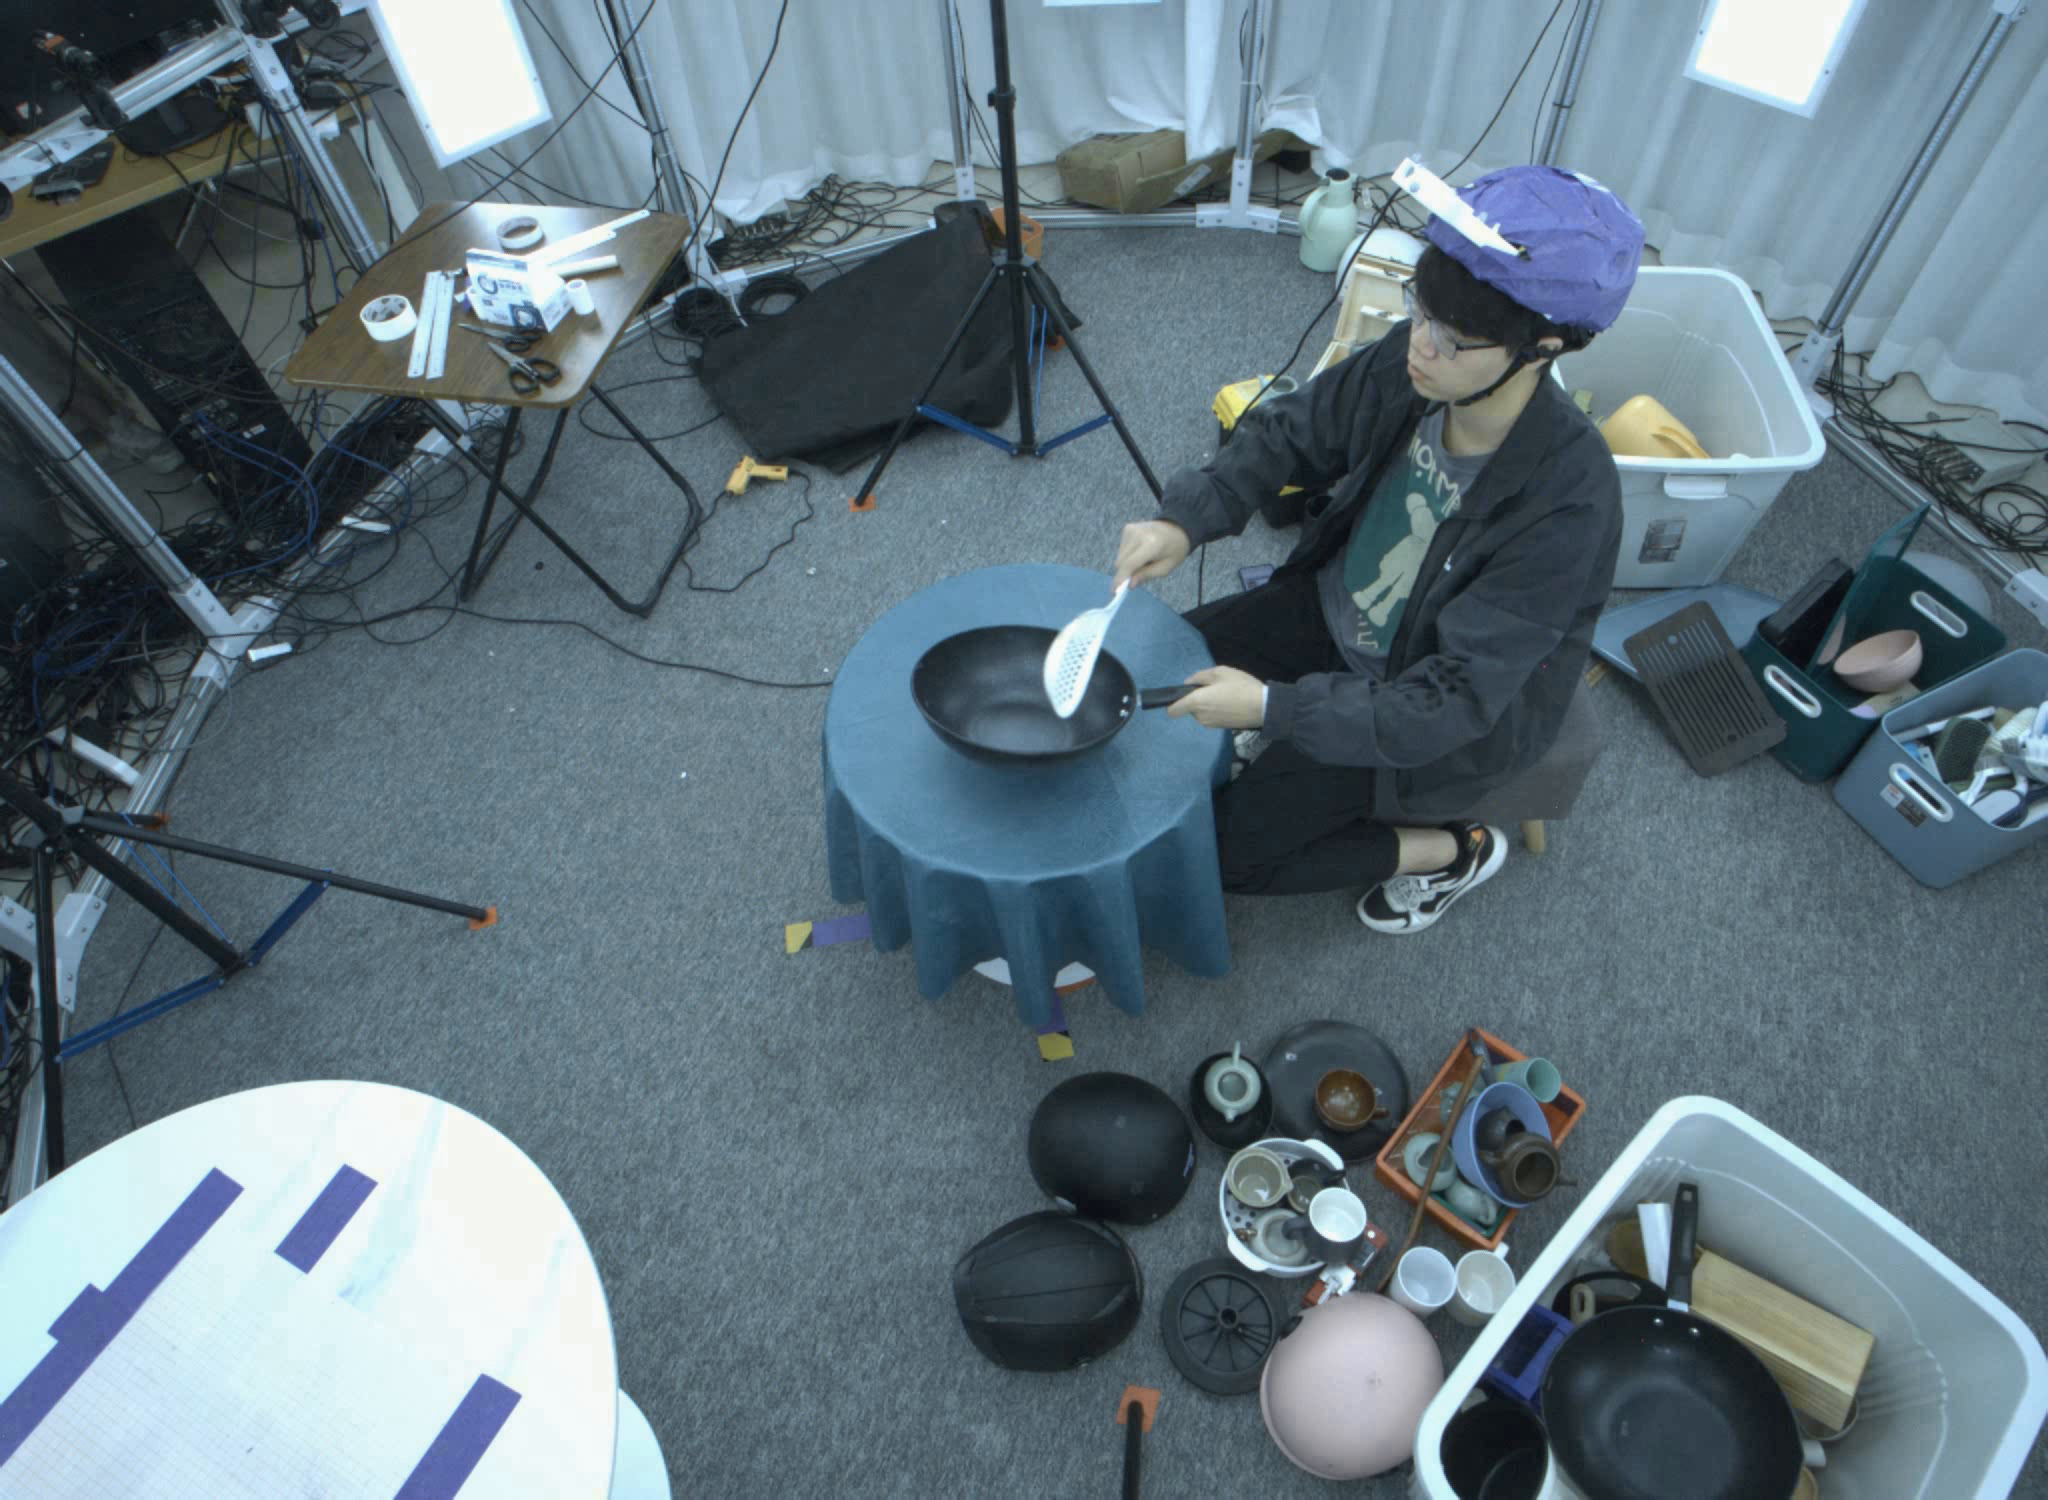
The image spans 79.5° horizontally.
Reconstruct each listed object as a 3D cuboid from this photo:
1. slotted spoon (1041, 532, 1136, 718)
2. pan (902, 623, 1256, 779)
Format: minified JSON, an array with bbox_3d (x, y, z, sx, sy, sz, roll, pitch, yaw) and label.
[{"bbox_3d":[0.100,-0.189,1.694,0.049,0.138,0.349,18,51,24],"label":"slotted spoon"},{"bbox_3d":[0.072,-0.058,1.688,0.478,0.112,0.307,4,39,-2],"label":"pan"}]
